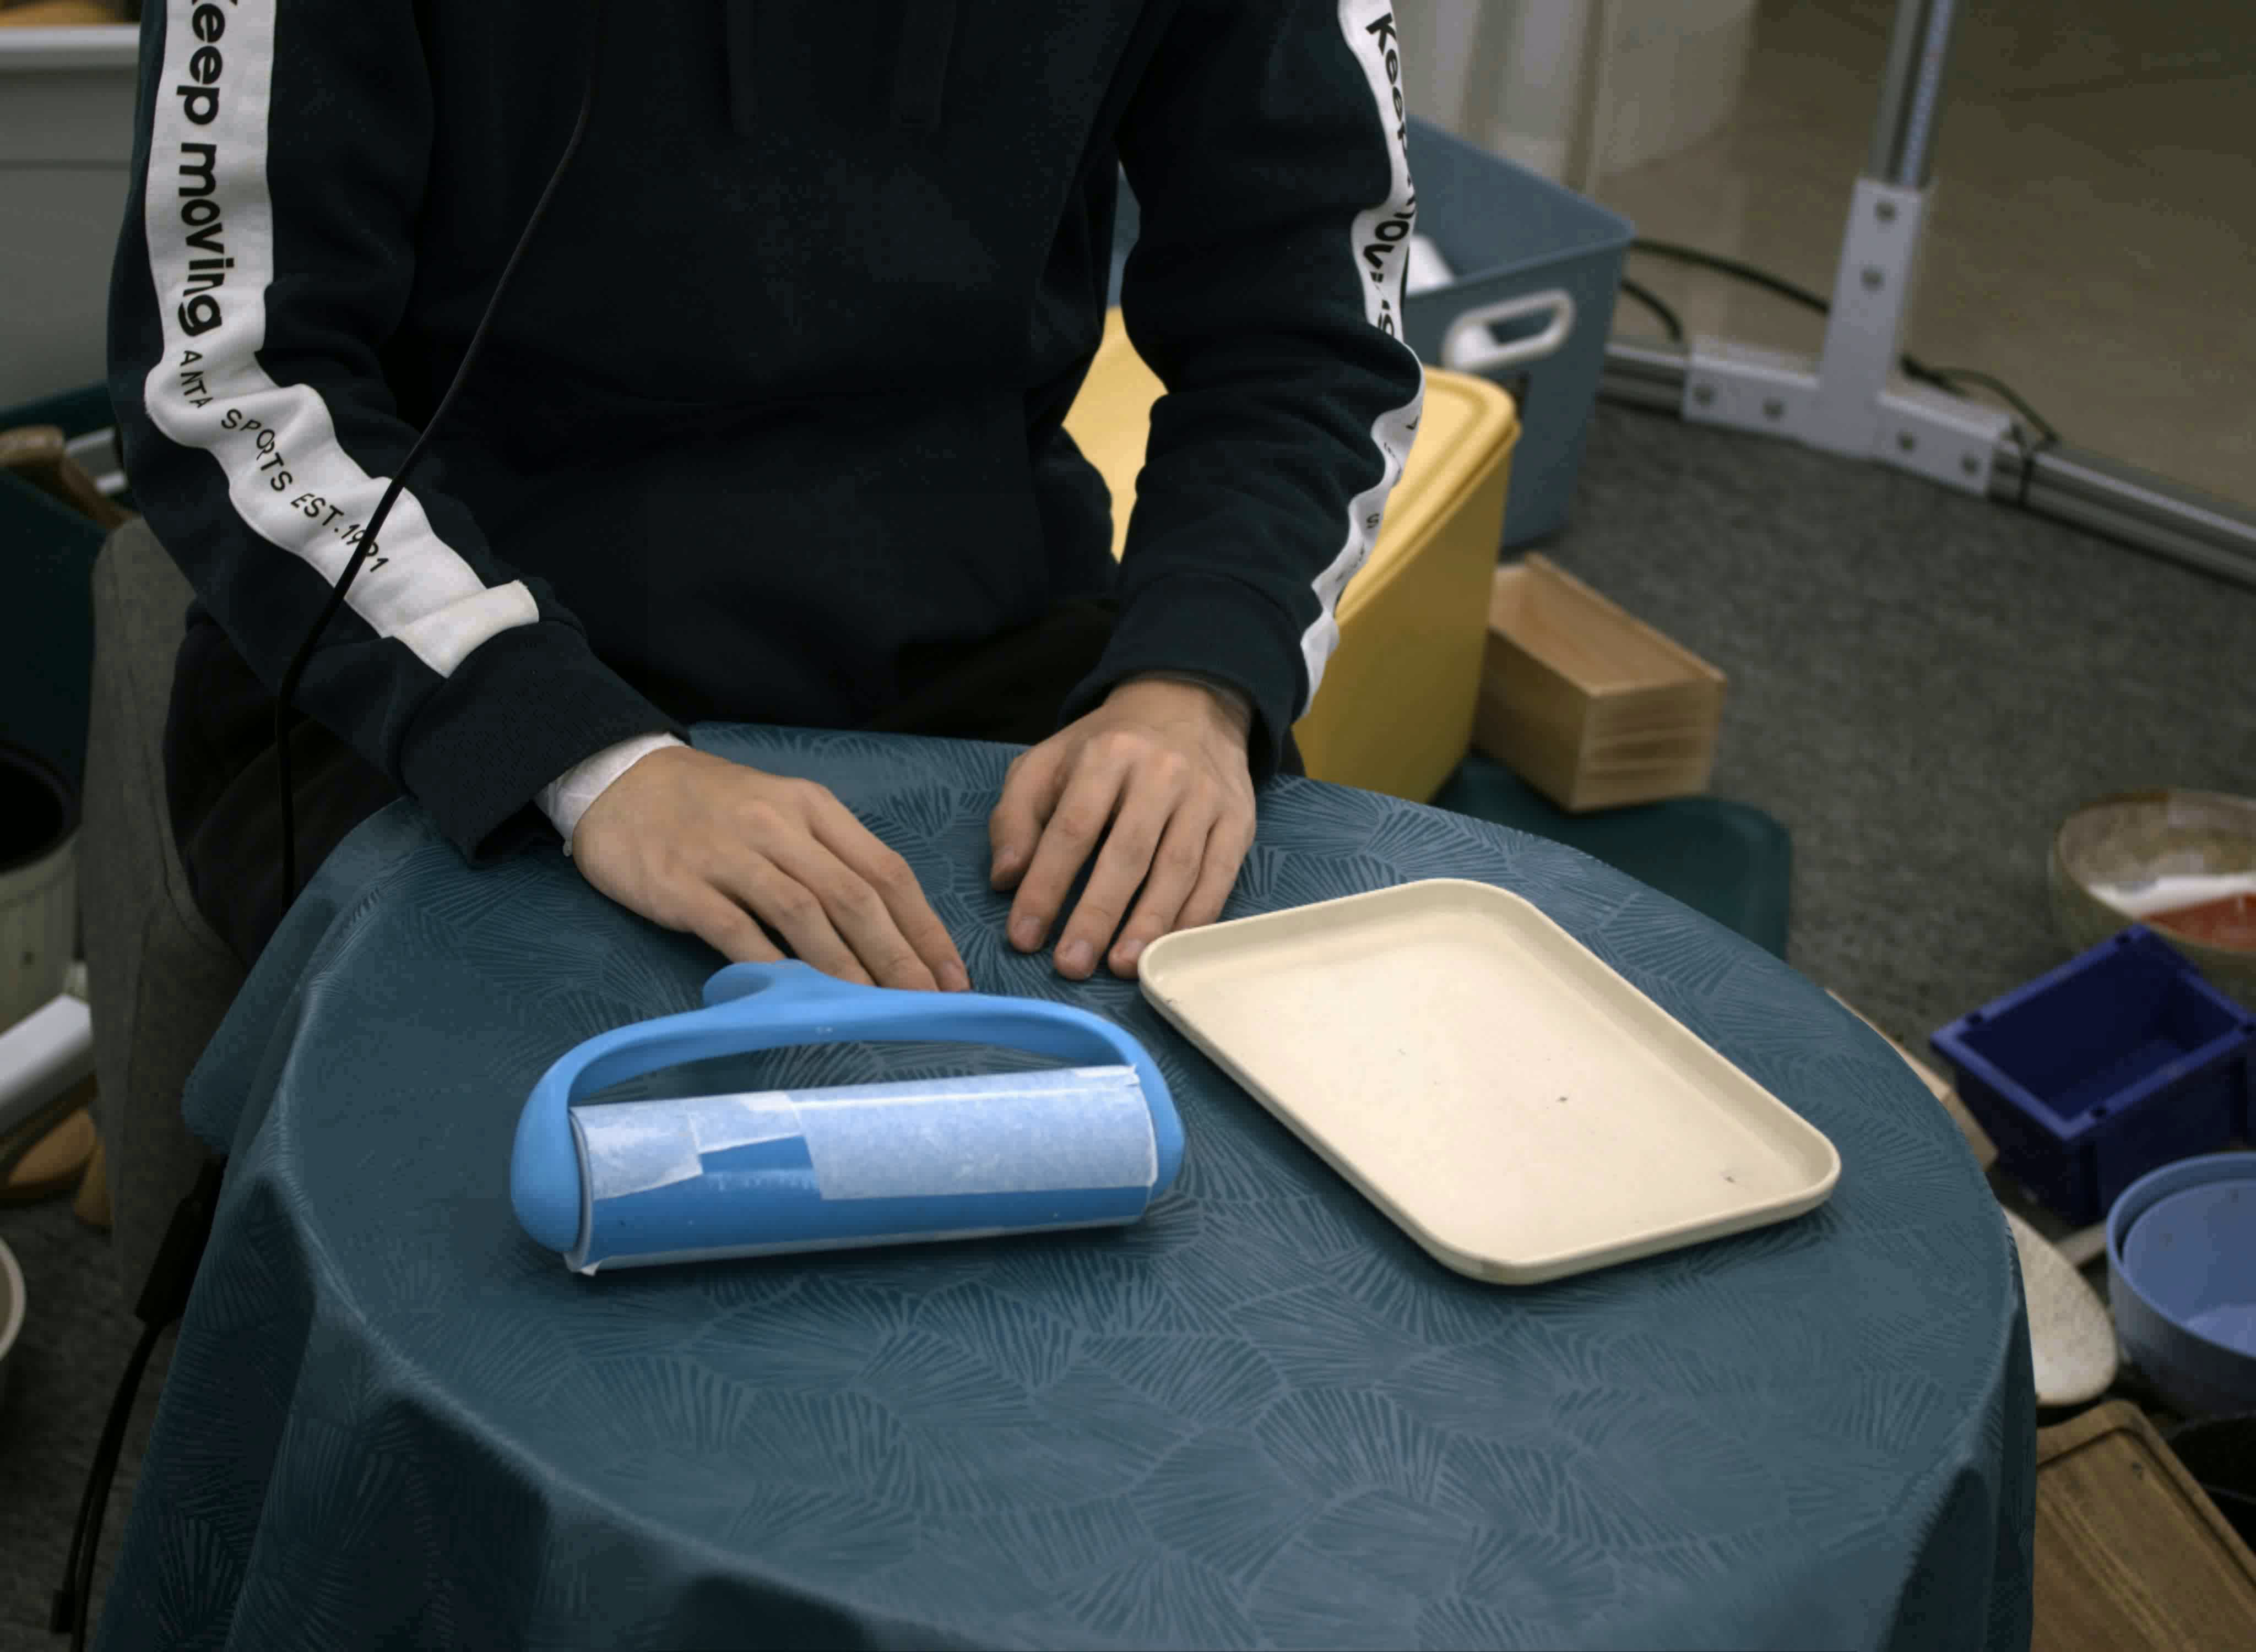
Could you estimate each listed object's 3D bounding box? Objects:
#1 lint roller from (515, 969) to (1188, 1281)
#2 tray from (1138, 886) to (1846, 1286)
[{"bbox_3d":[-0.110,0.084,1.790,0.227,0.067,0.182,-6,31,-20],"label":"lint roller"},{"bbox_3d":[0.125,0.090,1.873,0.170,0.017,0.242,-10,31,-30],"label":"tray"}]
